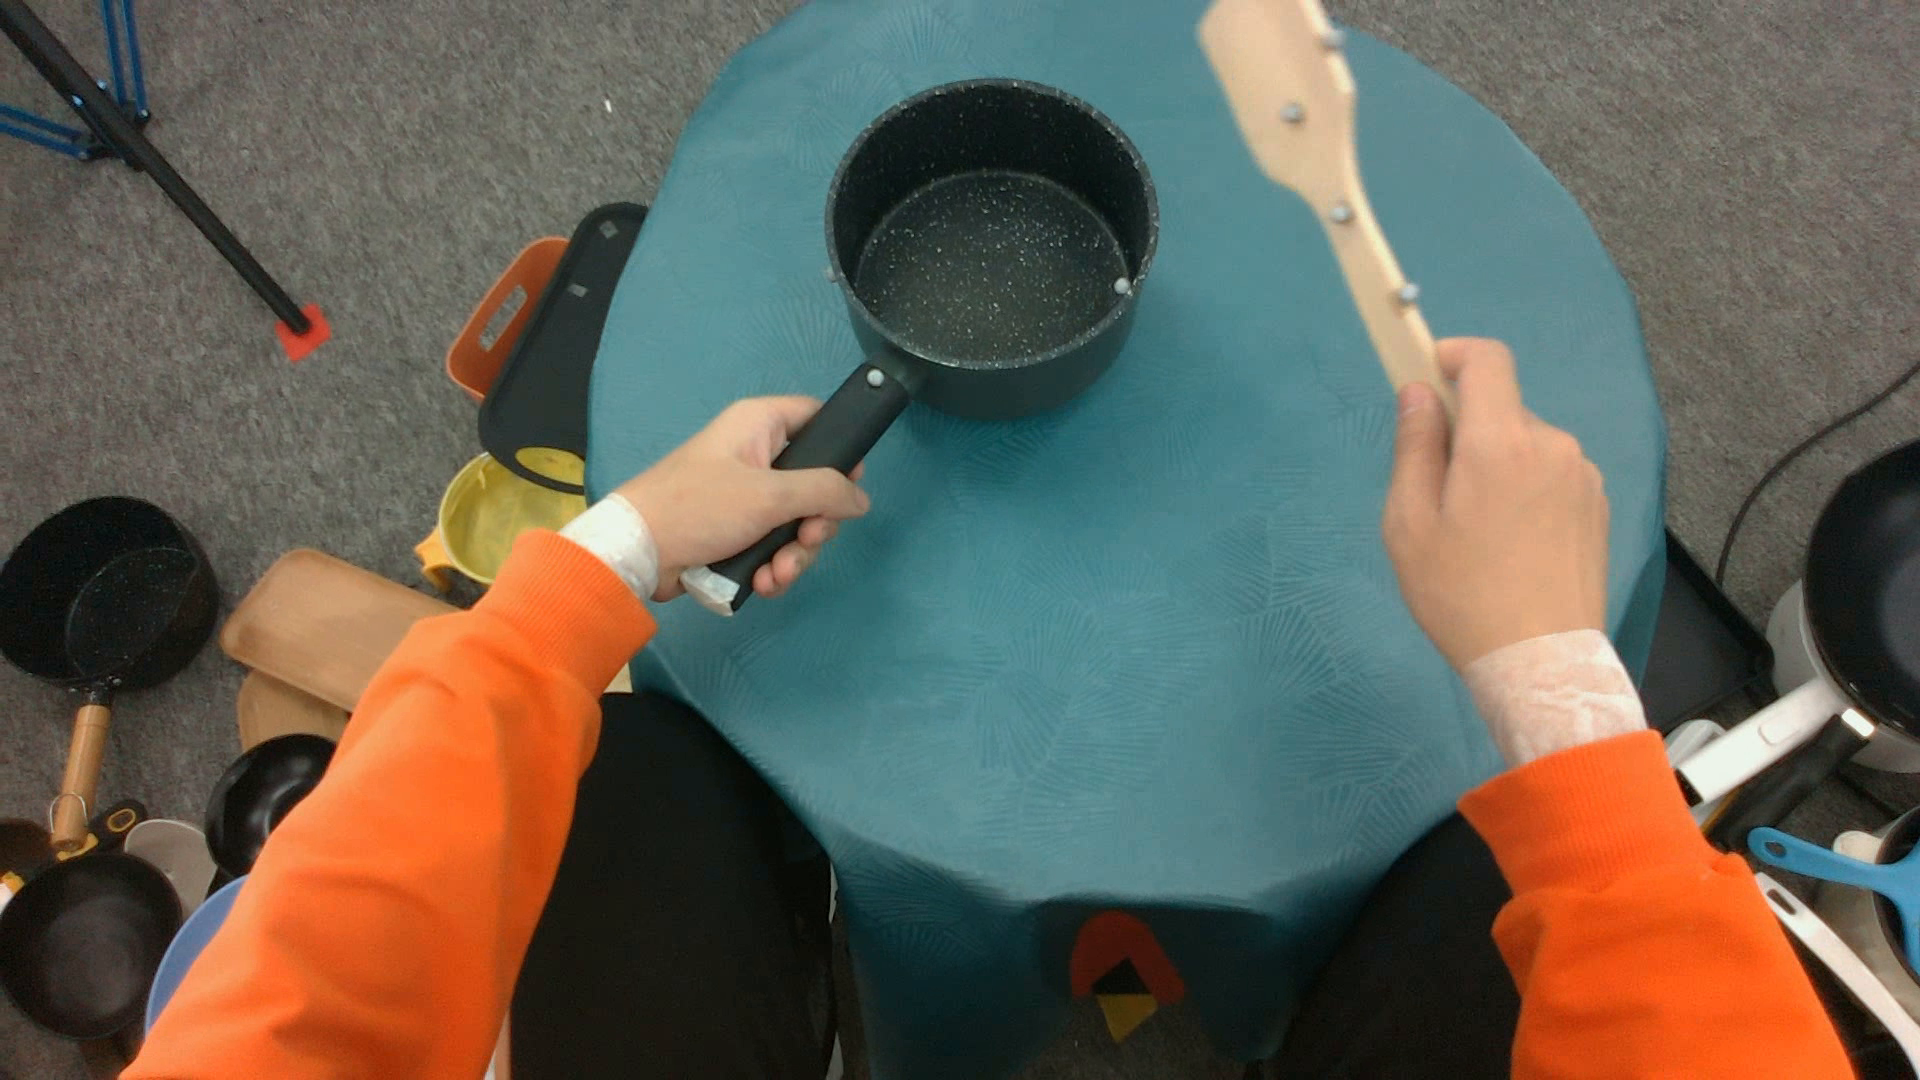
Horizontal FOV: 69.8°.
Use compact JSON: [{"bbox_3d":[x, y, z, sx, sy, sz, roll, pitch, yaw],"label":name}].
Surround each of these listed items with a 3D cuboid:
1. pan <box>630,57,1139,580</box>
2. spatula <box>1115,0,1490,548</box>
[{"bbox_3d":[-0.041,-0.101,0.705,0.172,0.086,0.329,34,73,13],"label":"pan"},{"bbox_3d":[0.149,-0.127,0.596,0.011,0.072,0.293,-23,79,-21],"label":"spatula"}]
